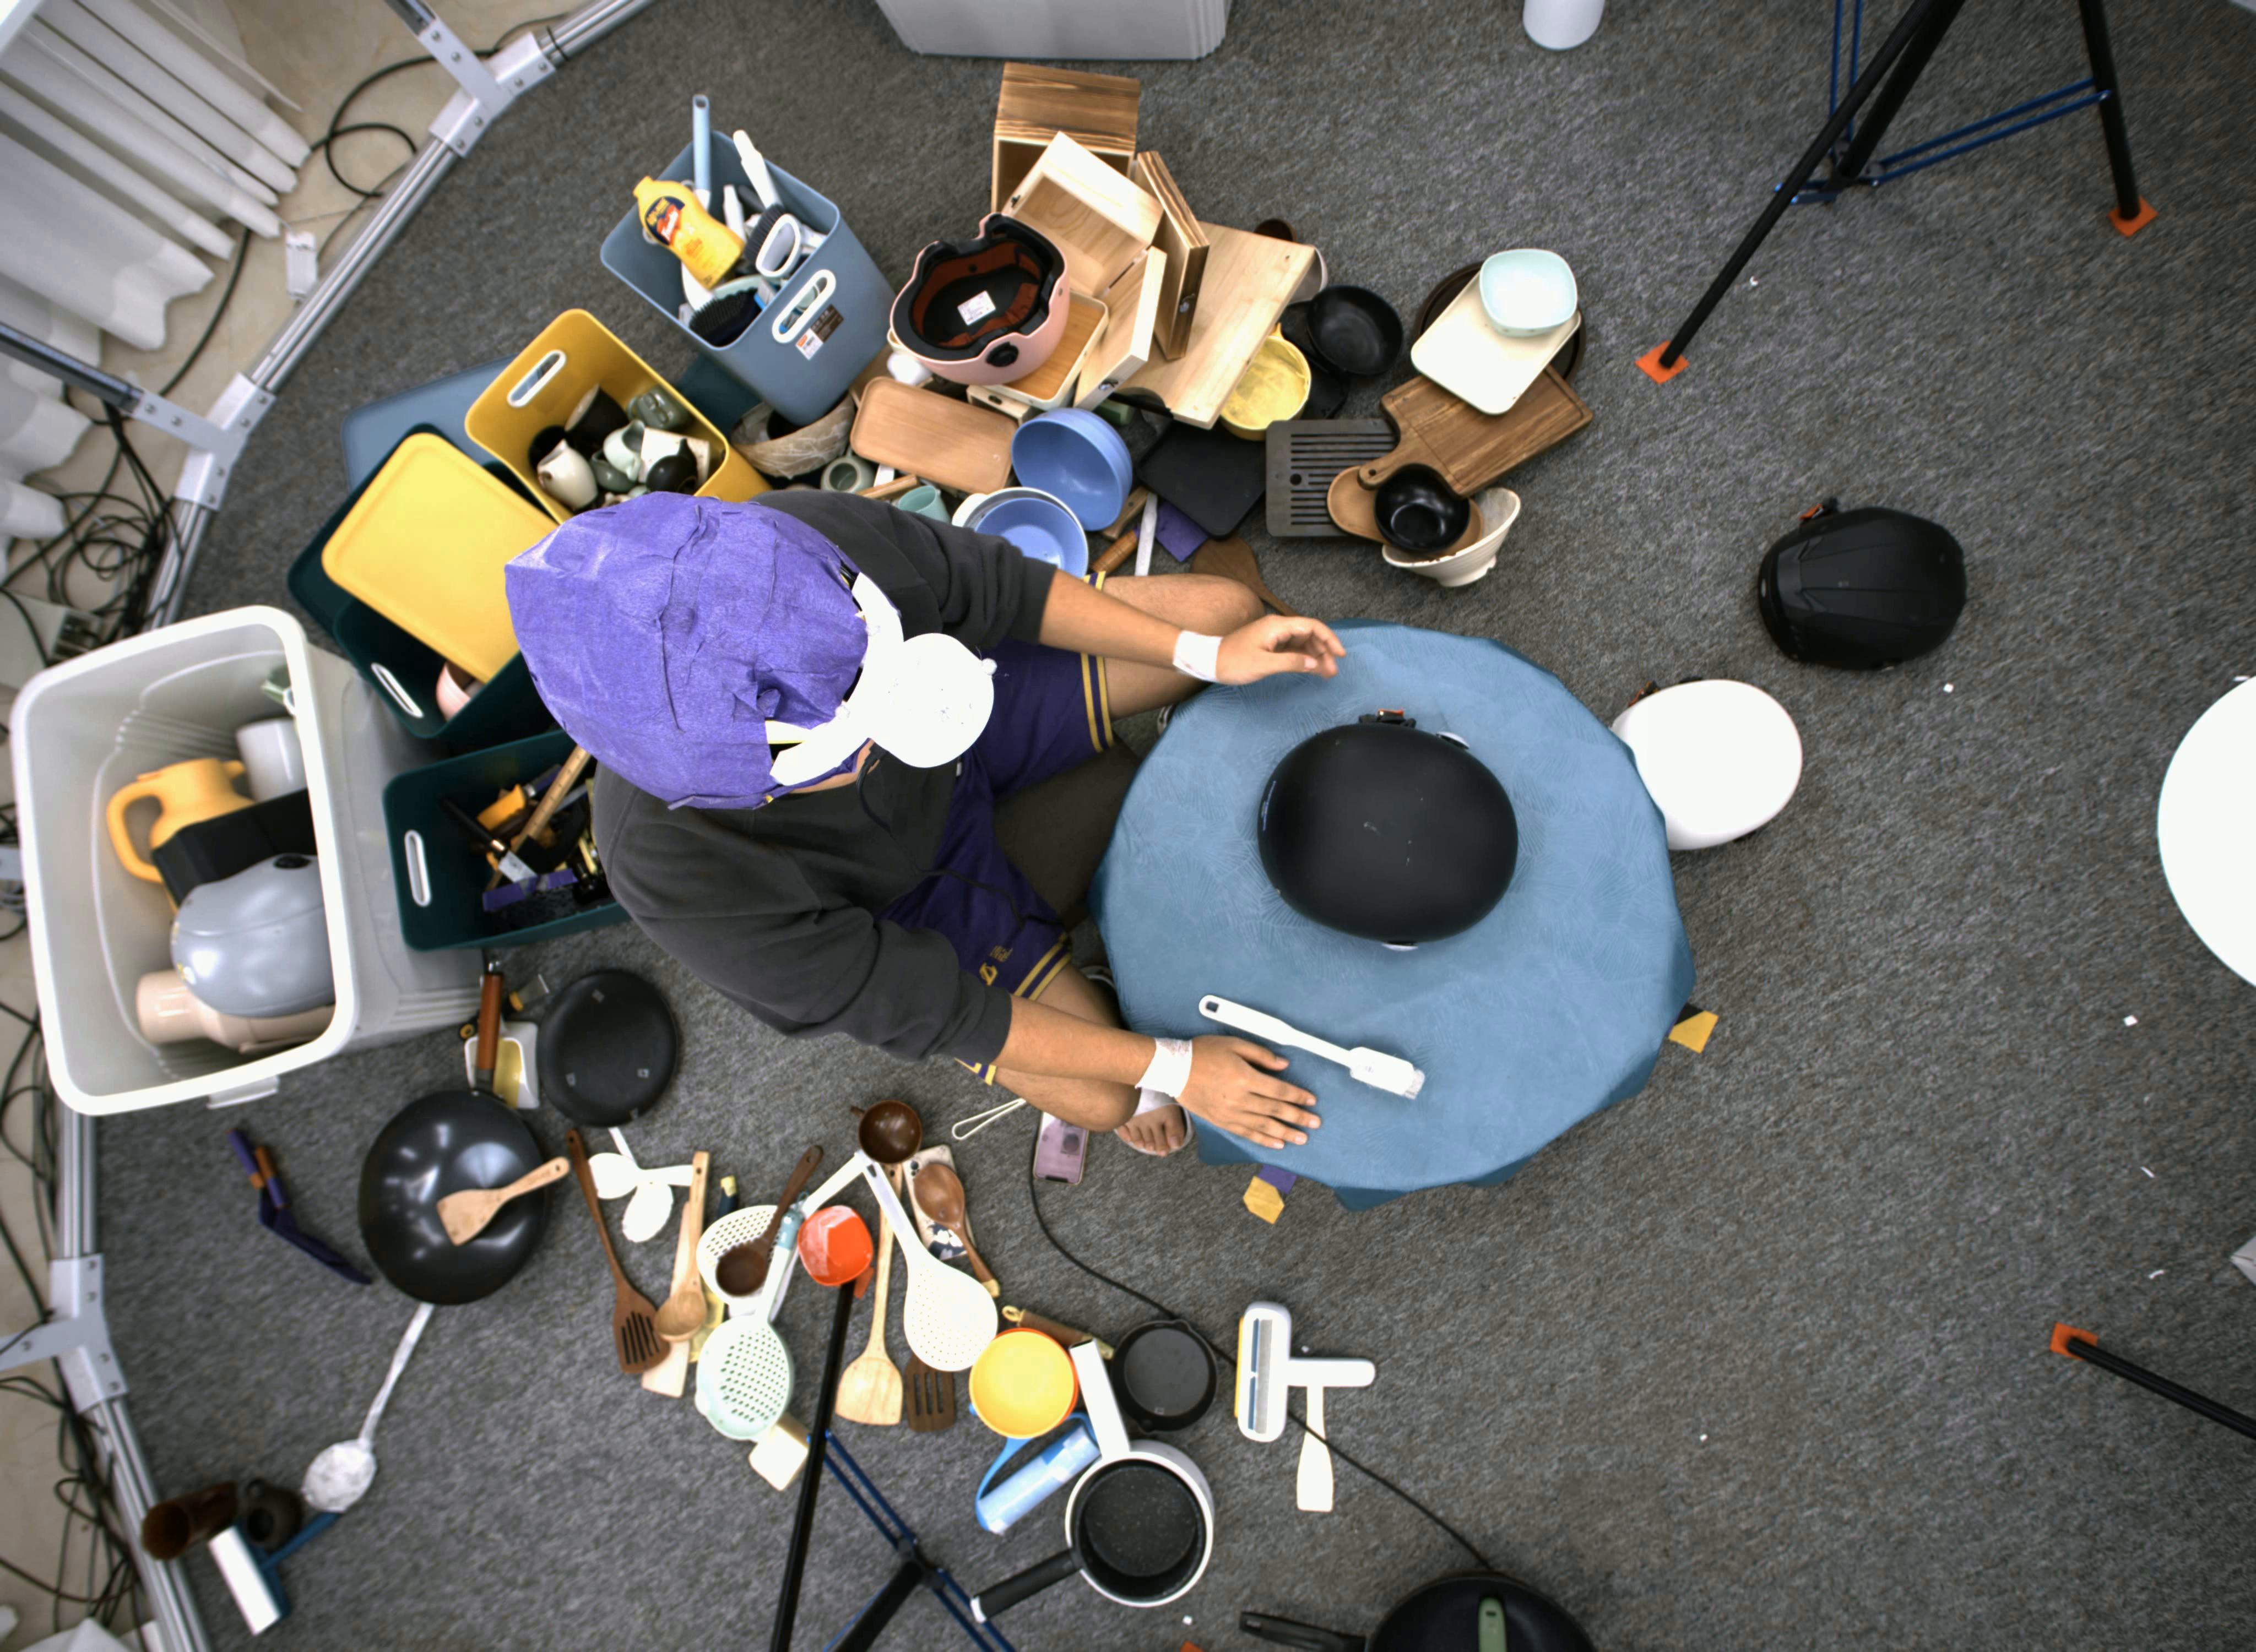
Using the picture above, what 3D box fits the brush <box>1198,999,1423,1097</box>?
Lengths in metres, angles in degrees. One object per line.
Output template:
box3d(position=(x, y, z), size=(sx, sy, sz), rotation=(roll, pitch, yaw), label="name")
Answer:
box3d(position=(0.189, 0.229, 1.453), size=(0.244, 0.050, 0.034), rotation=(16, 79, 24), label="brush")

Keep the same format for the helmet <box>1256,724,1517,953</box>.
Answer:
box3d(position=(0.262, 0.006, 1.385), size=(0.273, 0.166, 0.230), rotation=(17, 92, 9), label="helmet")
